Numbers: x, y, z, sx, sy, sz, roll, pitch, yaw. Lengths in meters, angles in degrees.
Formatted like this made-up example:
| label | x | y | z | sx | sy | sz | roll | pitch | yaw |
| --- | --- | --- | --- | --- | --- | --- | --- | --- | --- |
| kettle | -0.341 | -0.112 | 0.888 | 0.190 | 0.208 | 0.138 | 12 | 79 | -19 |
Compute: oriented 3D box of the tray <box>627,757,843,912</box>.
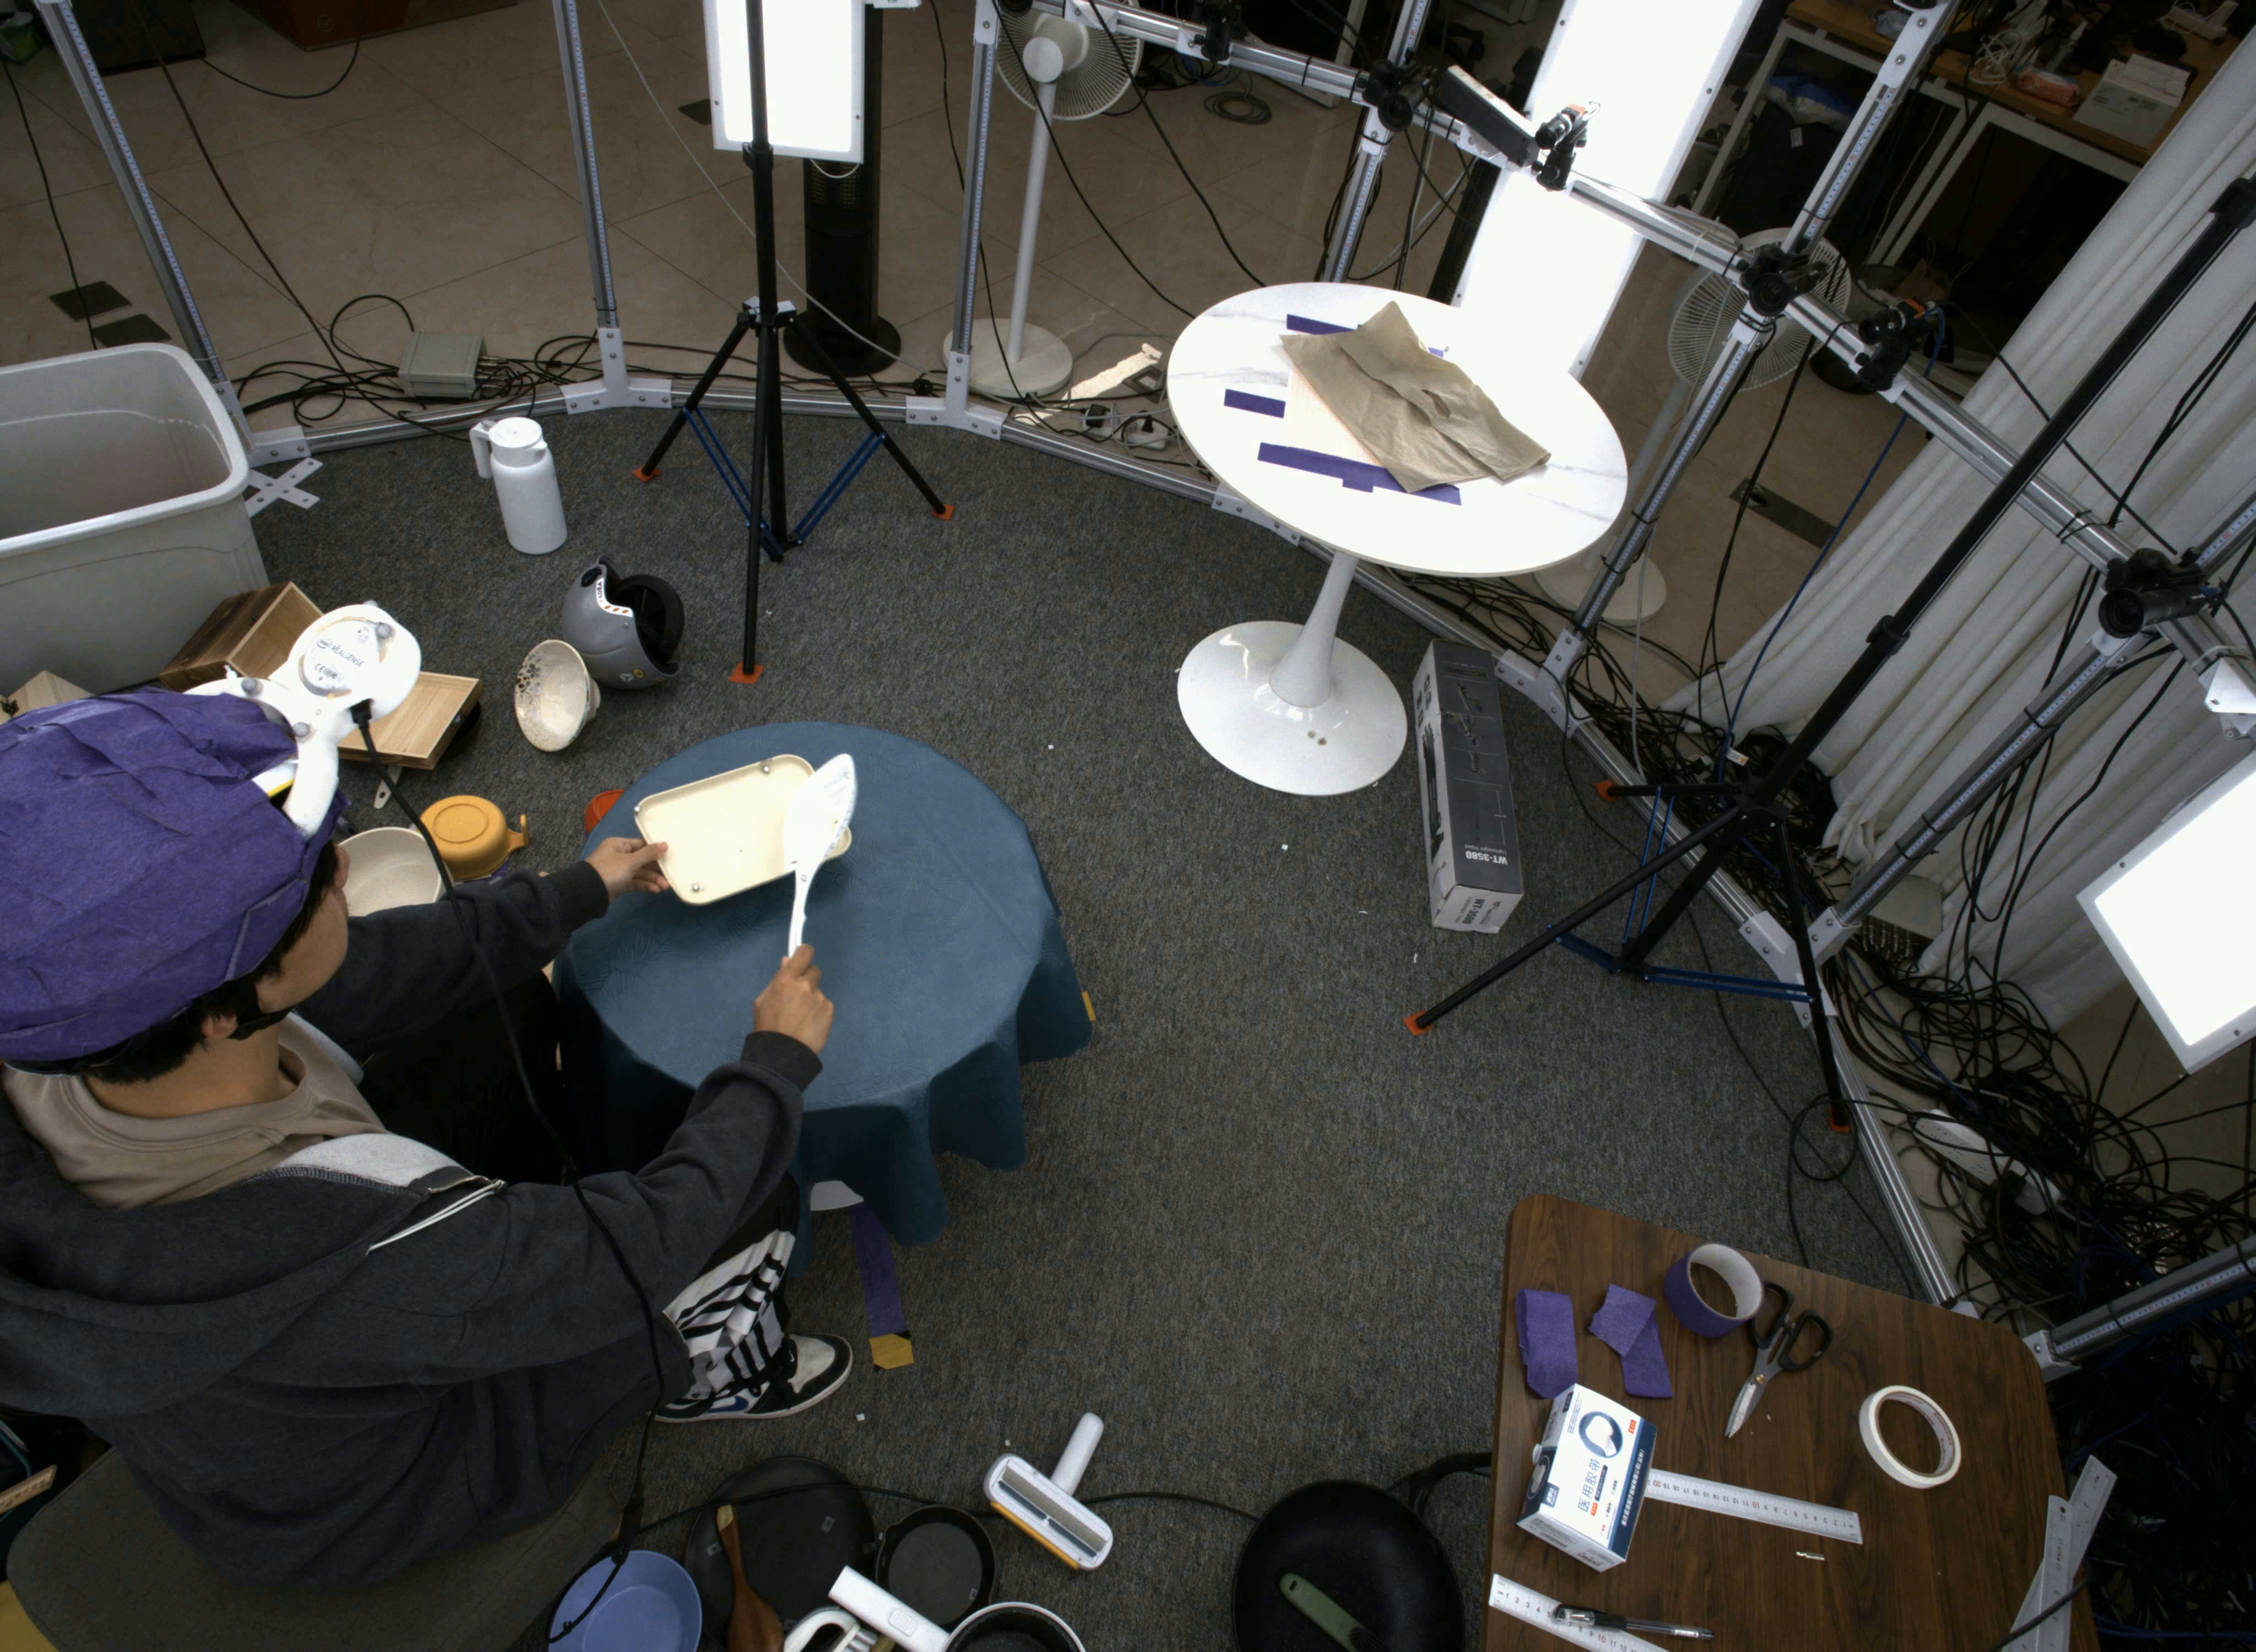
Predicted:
| label | x | y | z | sx | sy | sz | roll | pitch | yaw |
| --- | --- | --- | --- | --- | --- | --- | --- | --- | --- |
| tray | -0.494 | 0.007 | 1.628 | 0.241 | 0.017 | 0.168 | -22 | 69 | -34 |

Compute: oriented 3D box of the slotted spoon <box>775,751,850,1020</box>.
| label | x | y | z | sx | sy | sz | roll | pitch | yaw |
| --- | --- | --- | --- | --- | --- | --- | --- | --- | --- |
| slotted spoon | -0.368 | 0.065 | 1.494 | 0.052 | 0.135 | 0.341 | 35 | 39 | -35 |
